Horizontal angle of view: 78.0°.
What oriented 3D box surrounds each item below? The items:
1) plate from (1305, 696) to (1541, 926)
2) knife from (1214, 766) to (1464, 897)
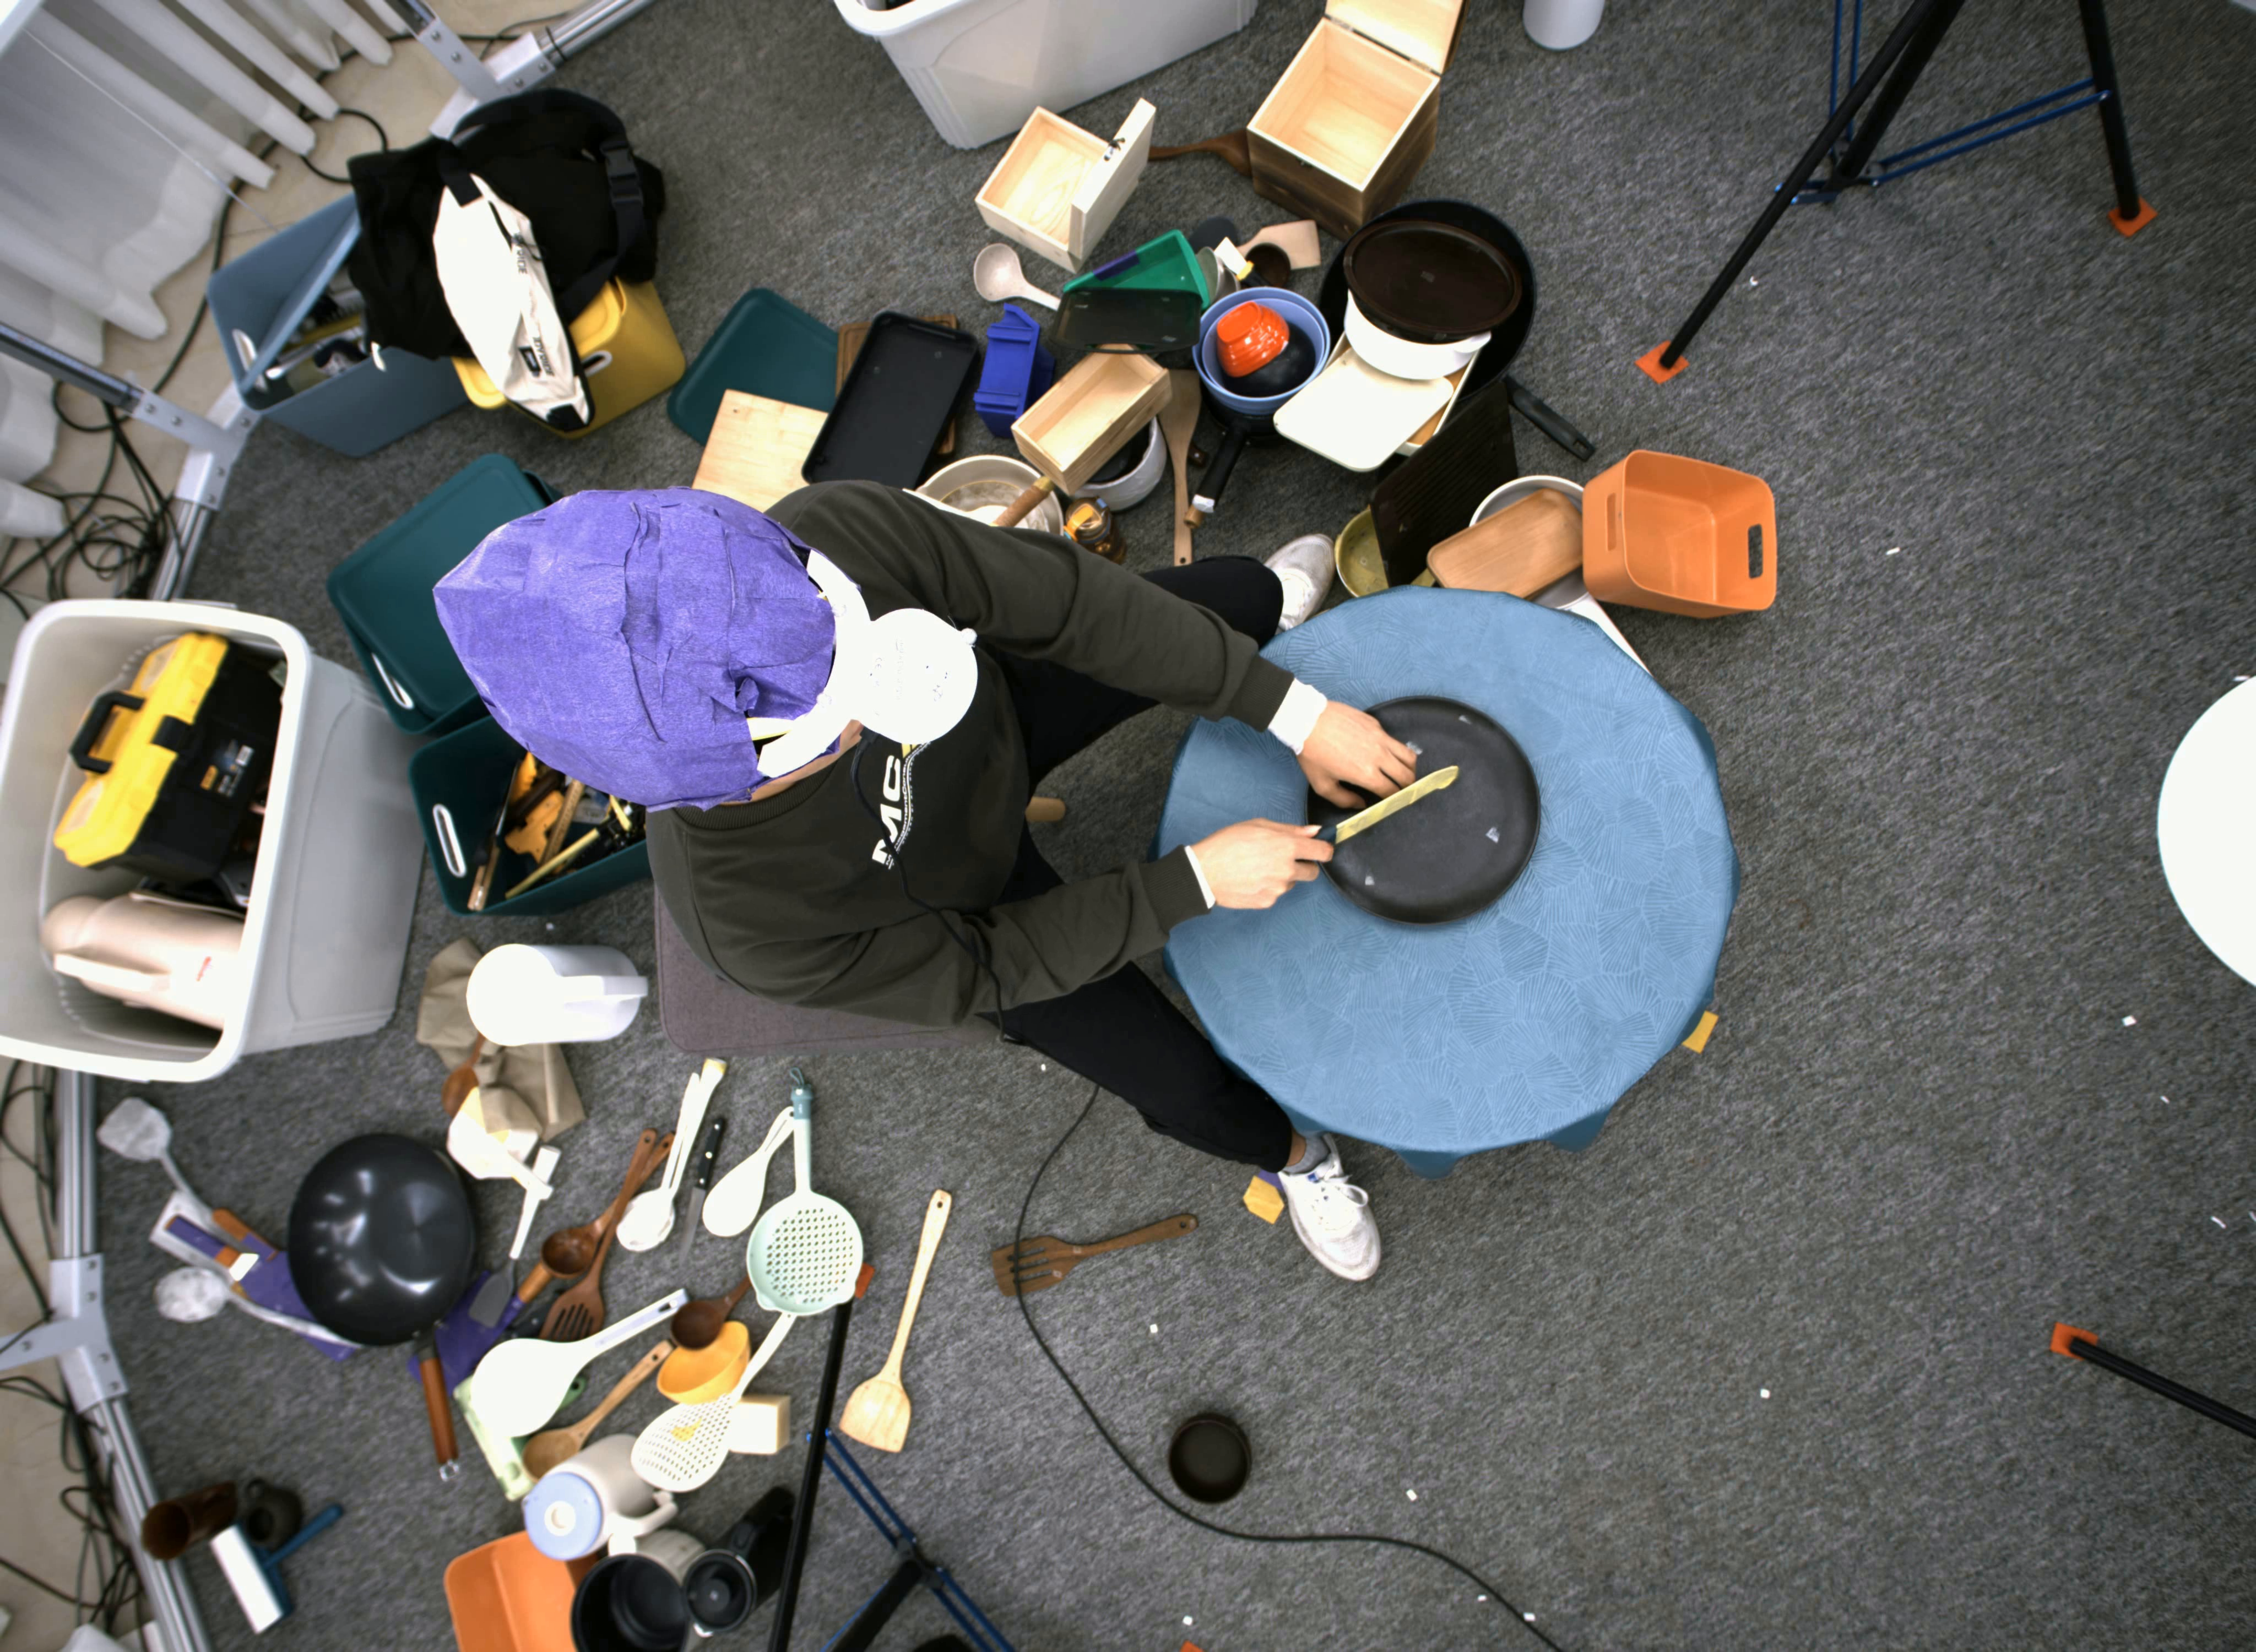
[{"bbox_3d":[0.308,-0.017,1.446,0.245,0.023,0.243,-1,86,11],"label":"plate"},{"bbox_3d":[0.219,0.003,1.414,0.289,0.082,0.027,-26,71,-2],"label":"knife"}]
